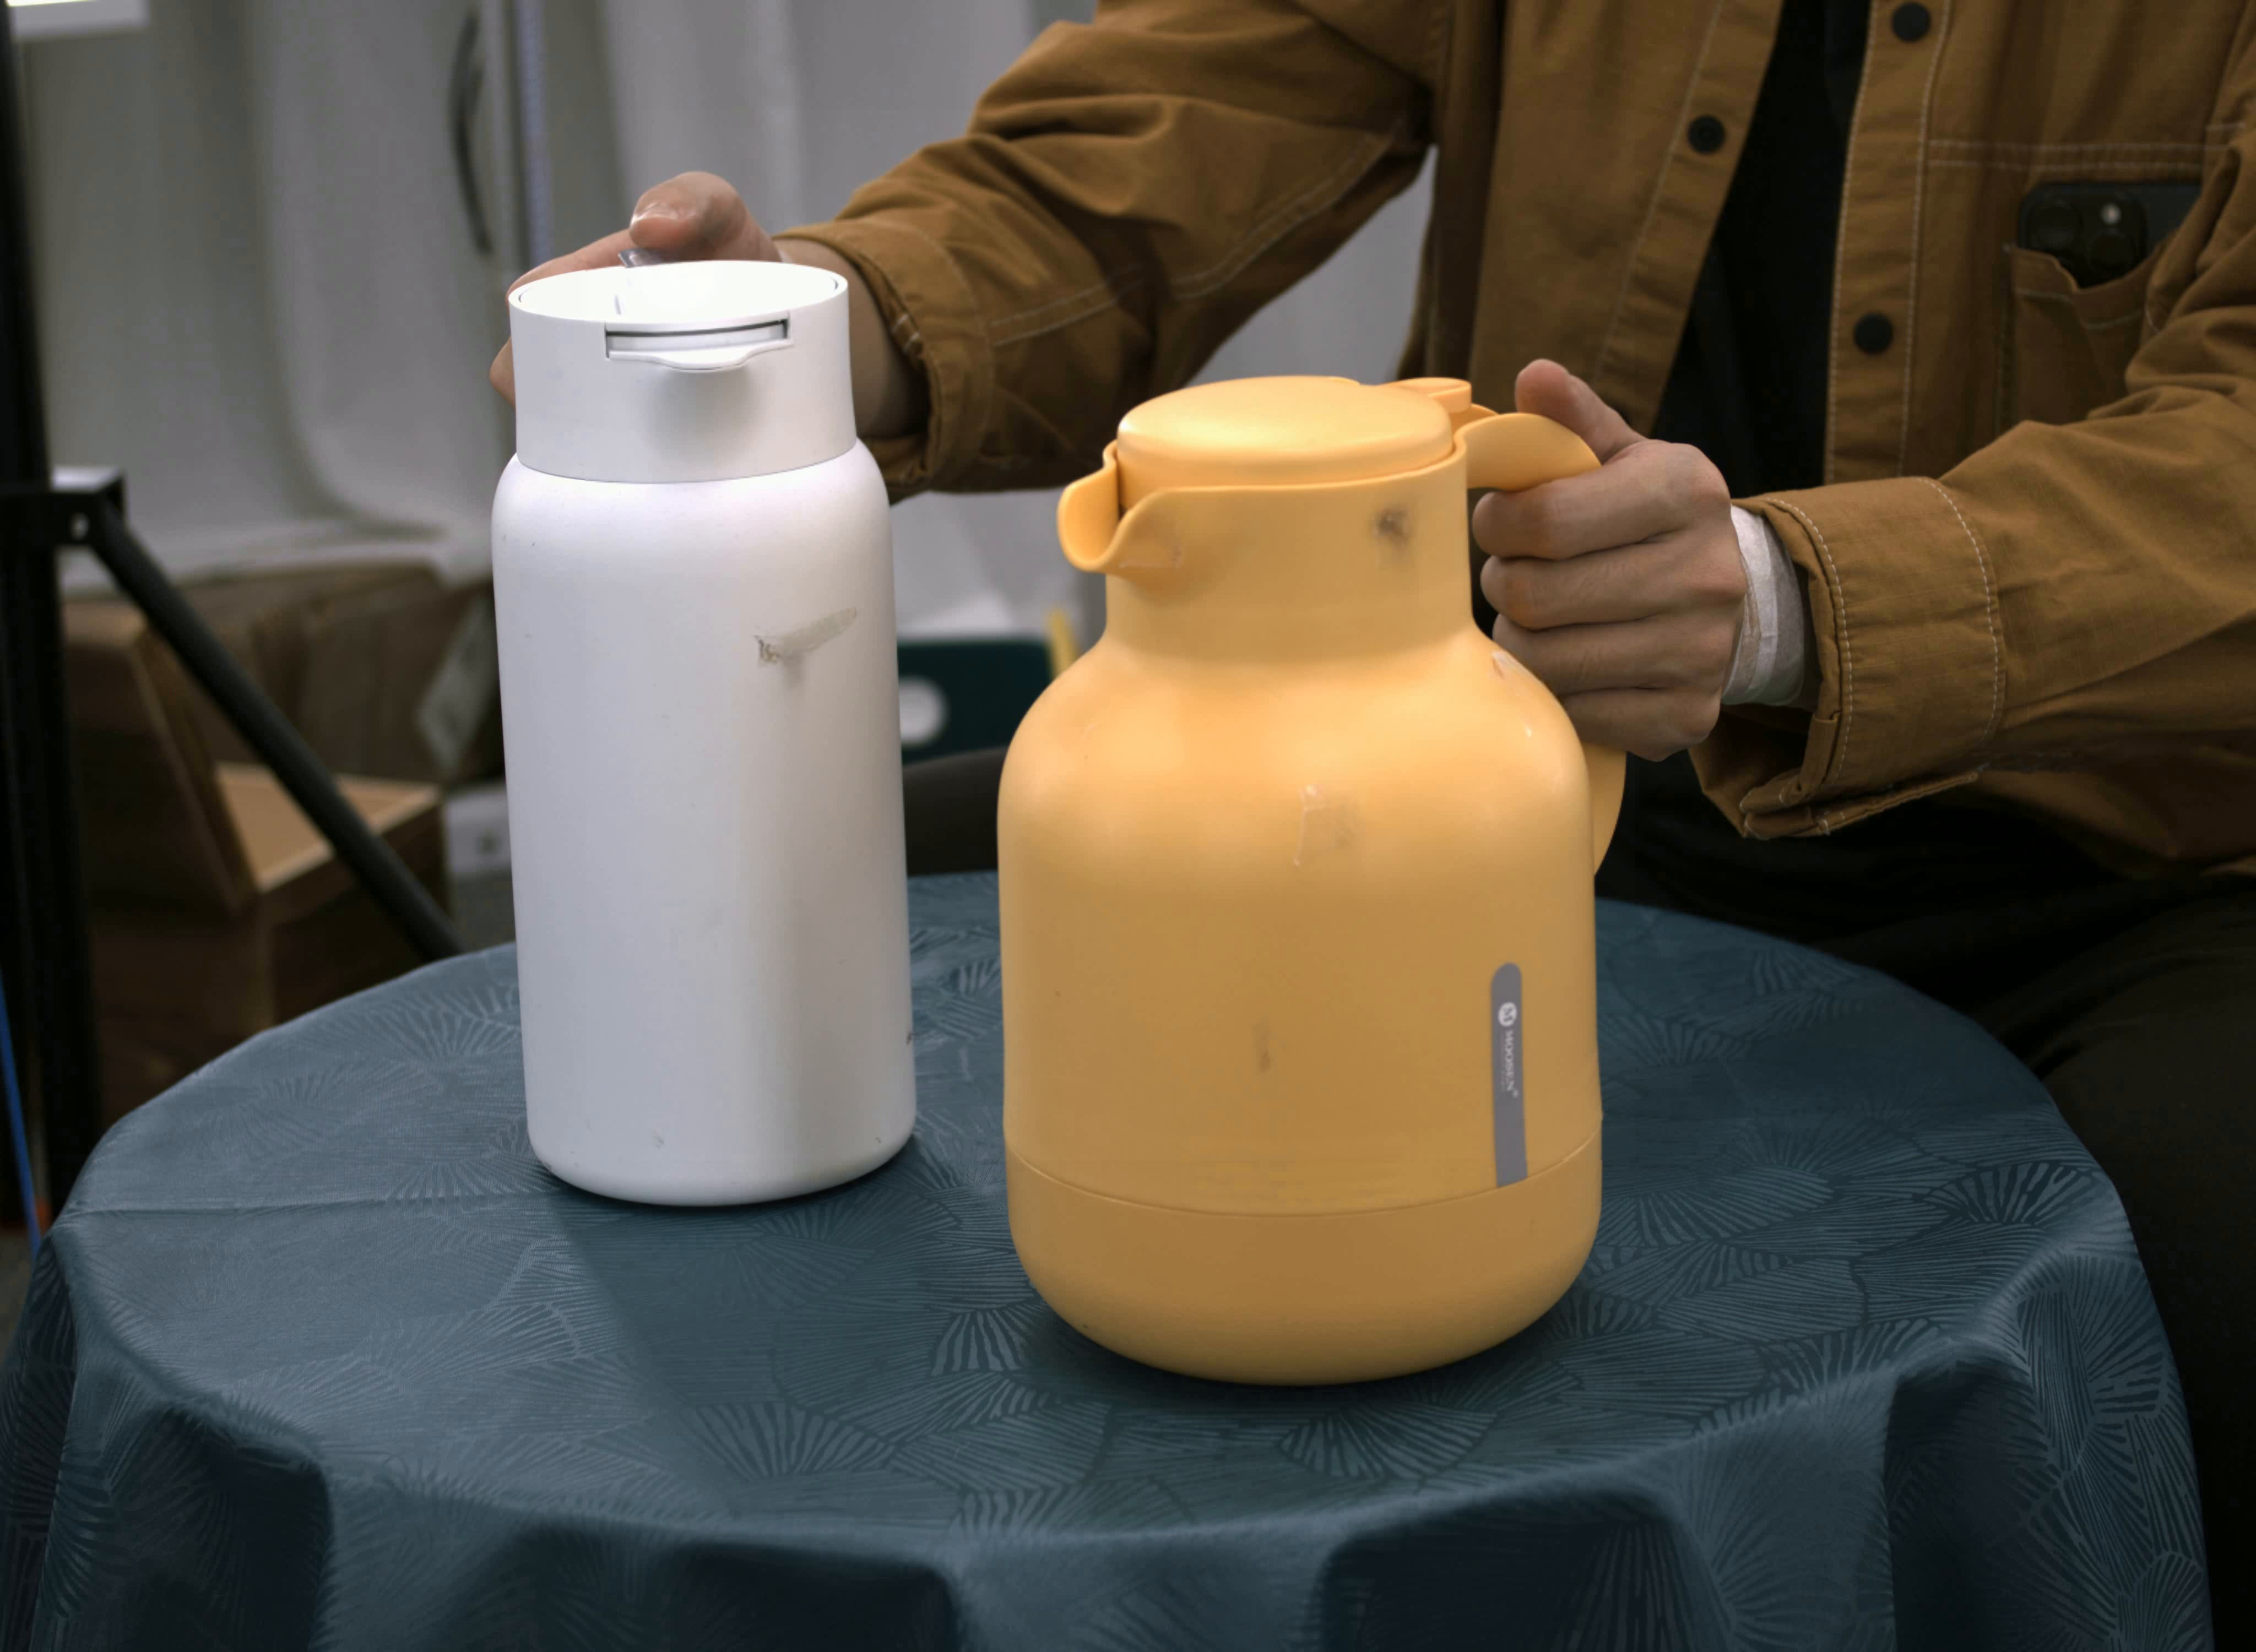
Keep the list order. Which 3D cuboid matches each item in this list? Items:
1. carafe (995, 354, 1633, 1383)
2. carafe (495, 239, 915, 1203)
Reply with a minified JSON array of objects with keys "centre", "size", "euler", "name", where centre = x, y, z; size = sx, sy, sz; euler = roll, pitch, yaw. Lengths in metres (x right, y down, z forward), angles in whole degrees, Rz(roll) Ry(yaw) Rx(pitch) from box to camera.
[{"centre":[0.061,0.004,1.430],"size":[0.198,0.260,0.167],"euler":[-16,23,-37],"name":"carafe"},{"centre":[-0.130,-0.035,1.592],"size":[0.122,0.268,0.175],"euler":[-7,16,-10],"name":"carafe"}]
